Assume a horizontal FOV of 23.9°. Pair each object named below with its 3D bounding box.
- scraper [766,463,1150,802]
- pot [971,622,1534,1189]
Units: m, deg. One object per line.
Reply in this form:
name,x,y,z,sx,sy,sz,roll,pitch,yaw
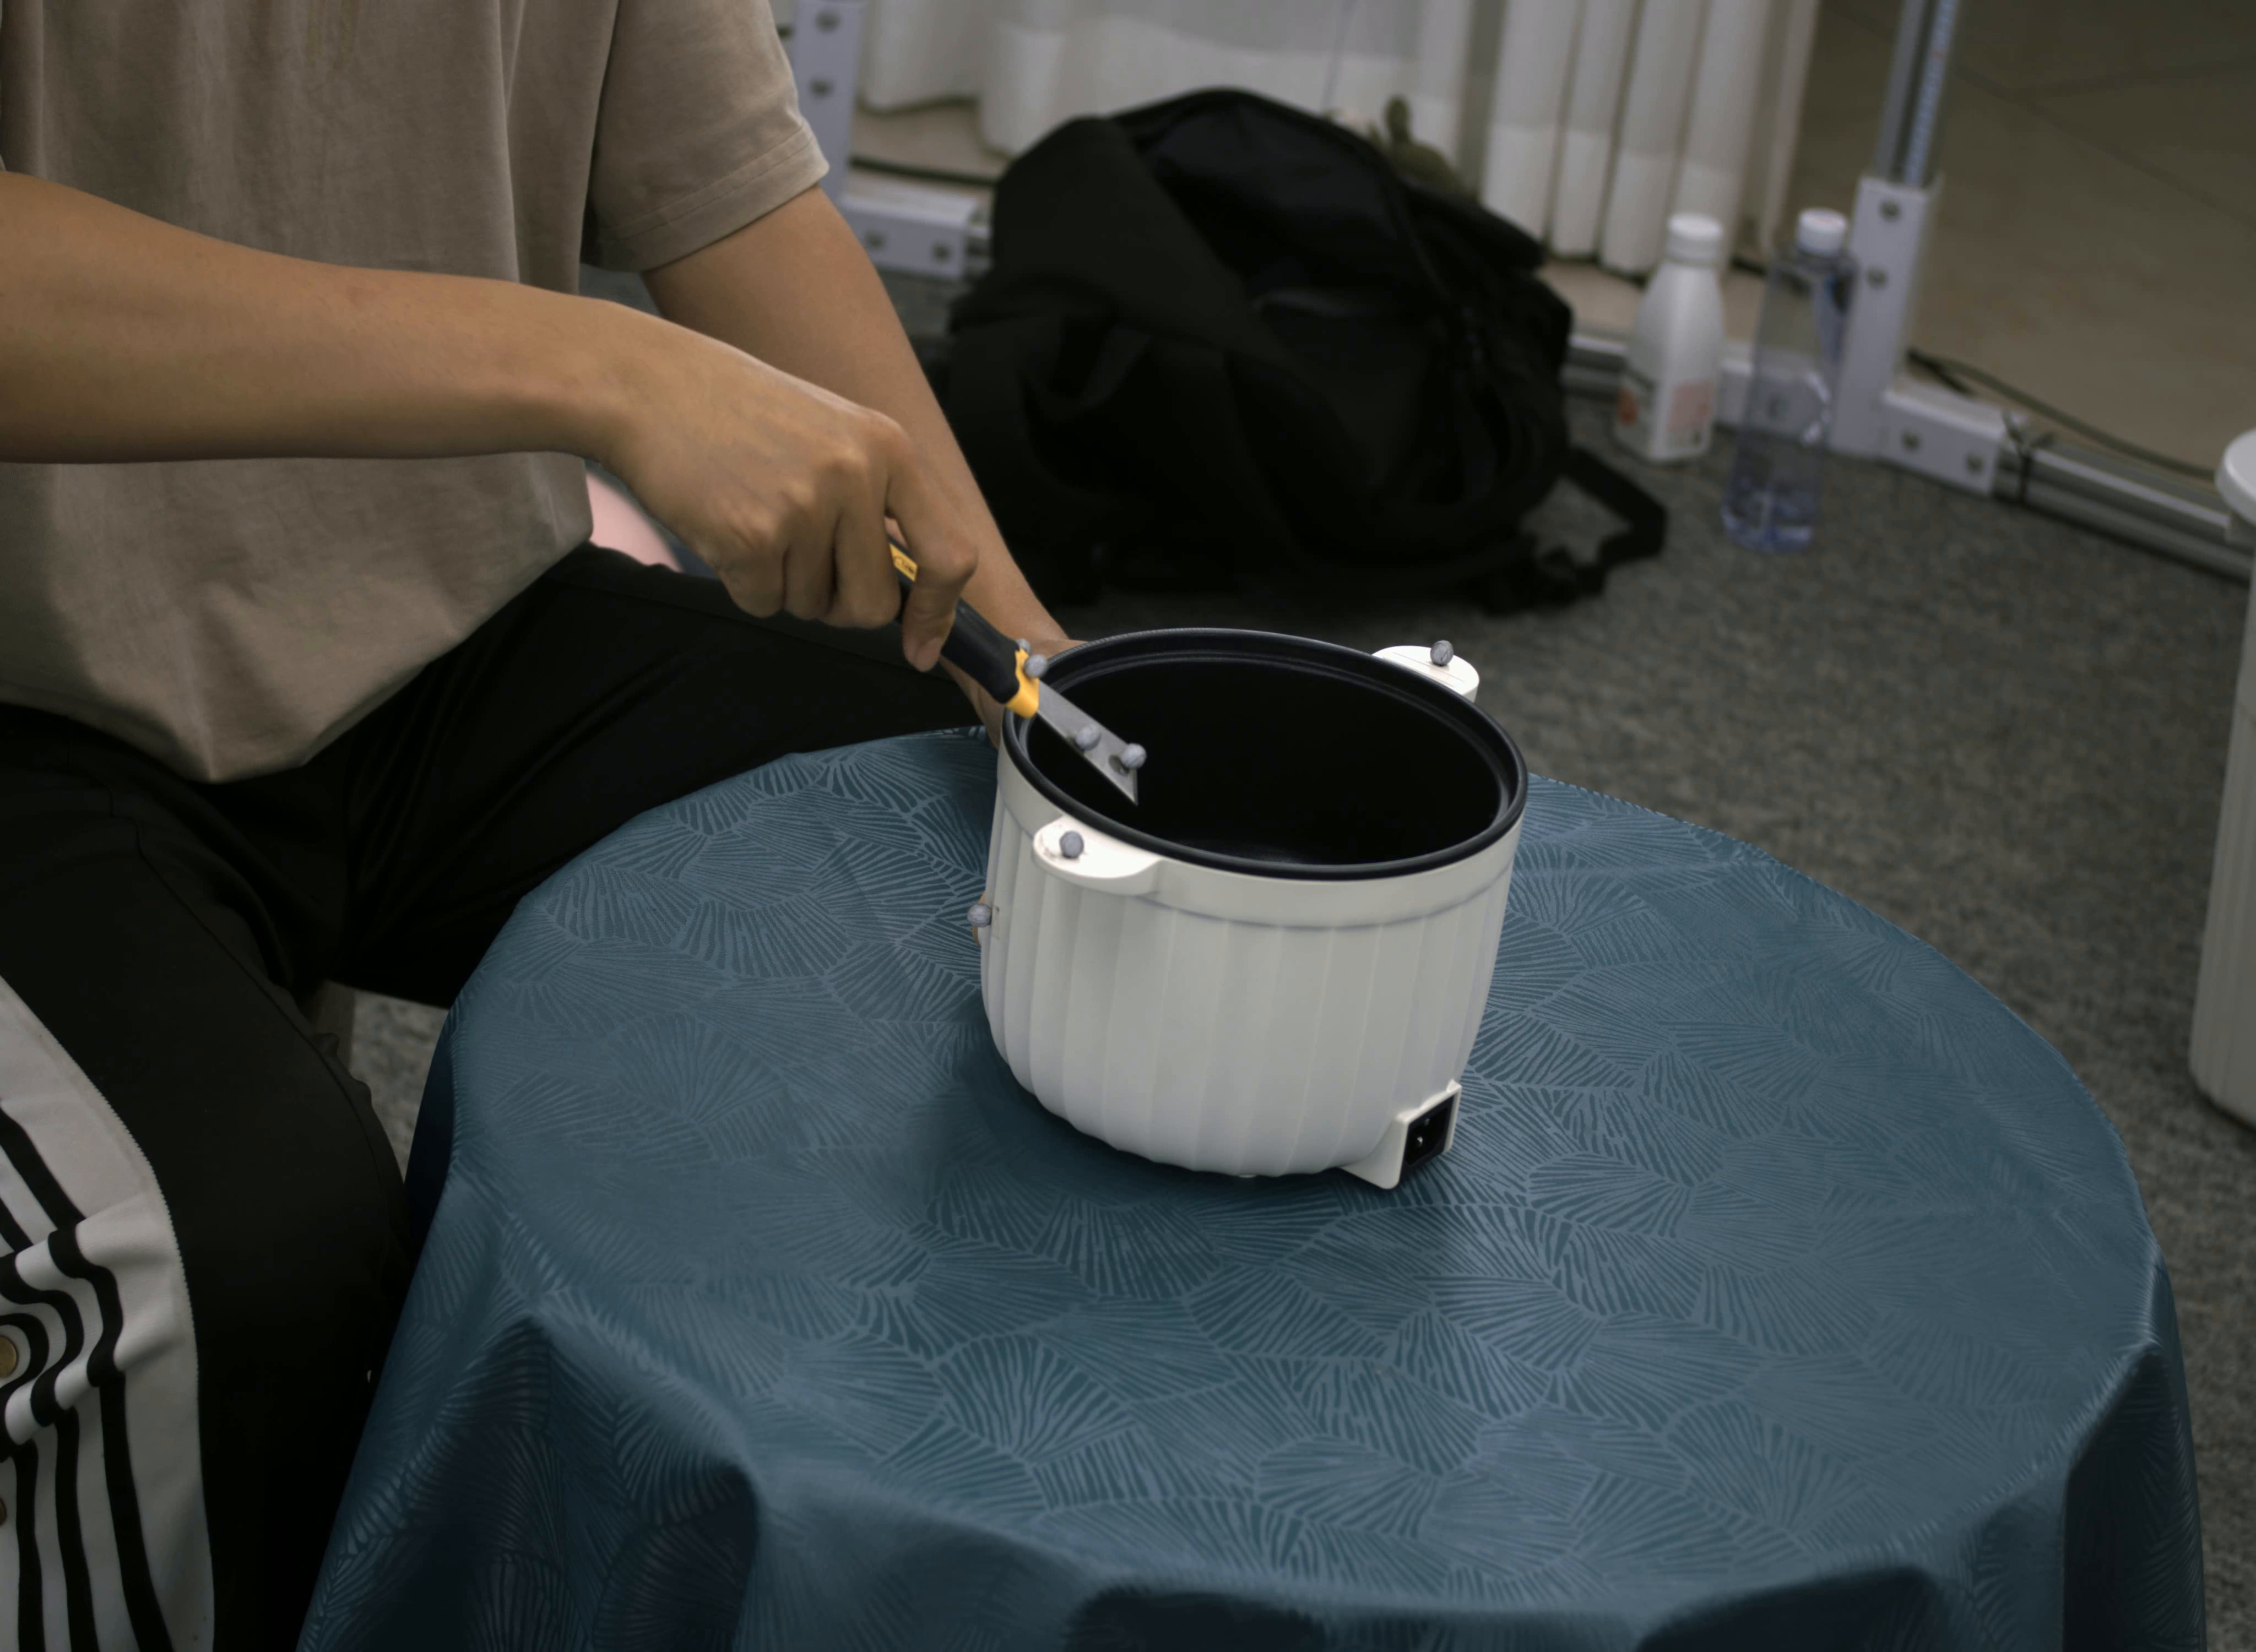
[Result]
scraper,-0.056,-0.065,1.779,0.169,0.015,0.039,38,30,-24
pot,0.035,0.029,1.845,0.191,0.142,0.239,27,32,26
